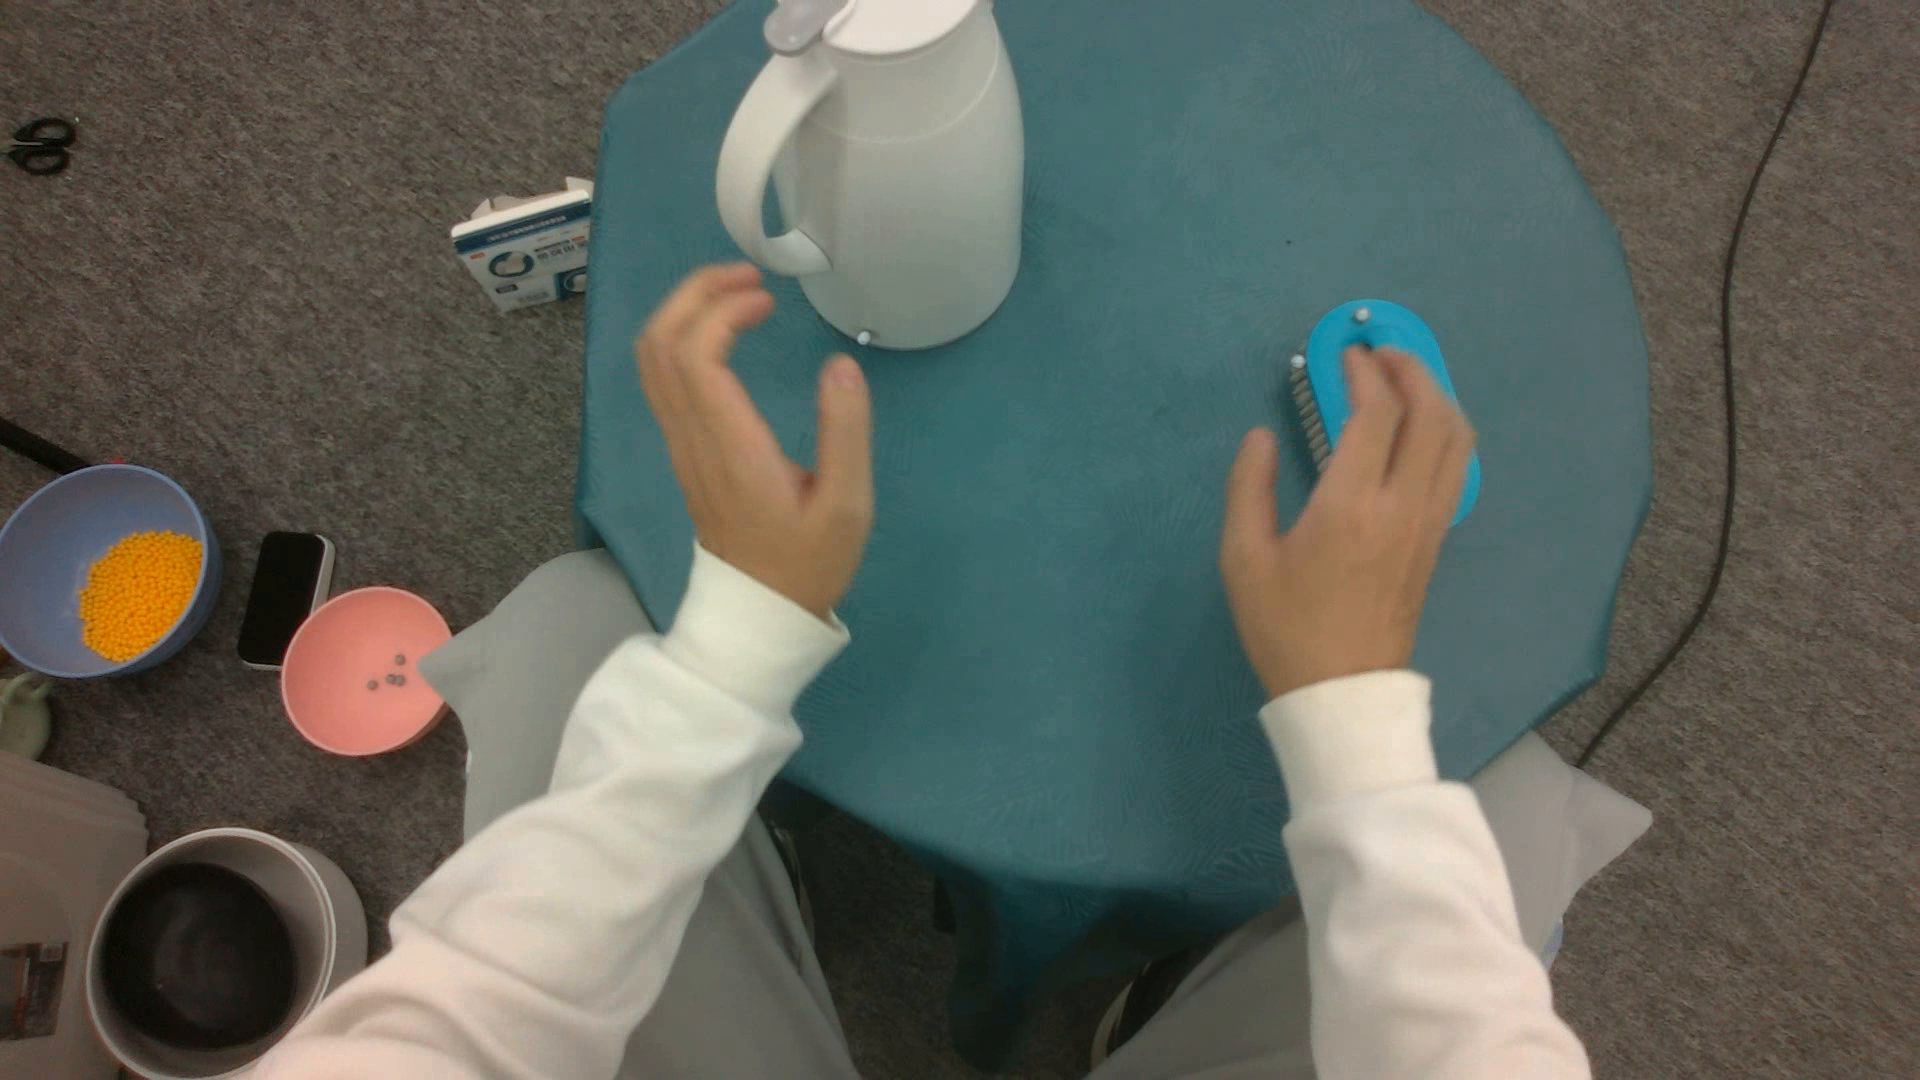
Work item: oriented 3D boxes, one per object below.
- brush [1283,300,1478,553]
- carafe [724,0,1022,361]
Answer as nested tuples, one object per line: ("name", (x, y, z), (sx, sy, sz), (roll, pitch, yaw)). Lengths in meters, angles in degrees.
("brush", (0.232, -0.069, 0.744), (0.084, 0.063, 0.142), (-10, 73, -7))
("carafe", (-0.045, -0.187, 0.690), (0.132, 0.248, 0.168), (40, 78, 12))
